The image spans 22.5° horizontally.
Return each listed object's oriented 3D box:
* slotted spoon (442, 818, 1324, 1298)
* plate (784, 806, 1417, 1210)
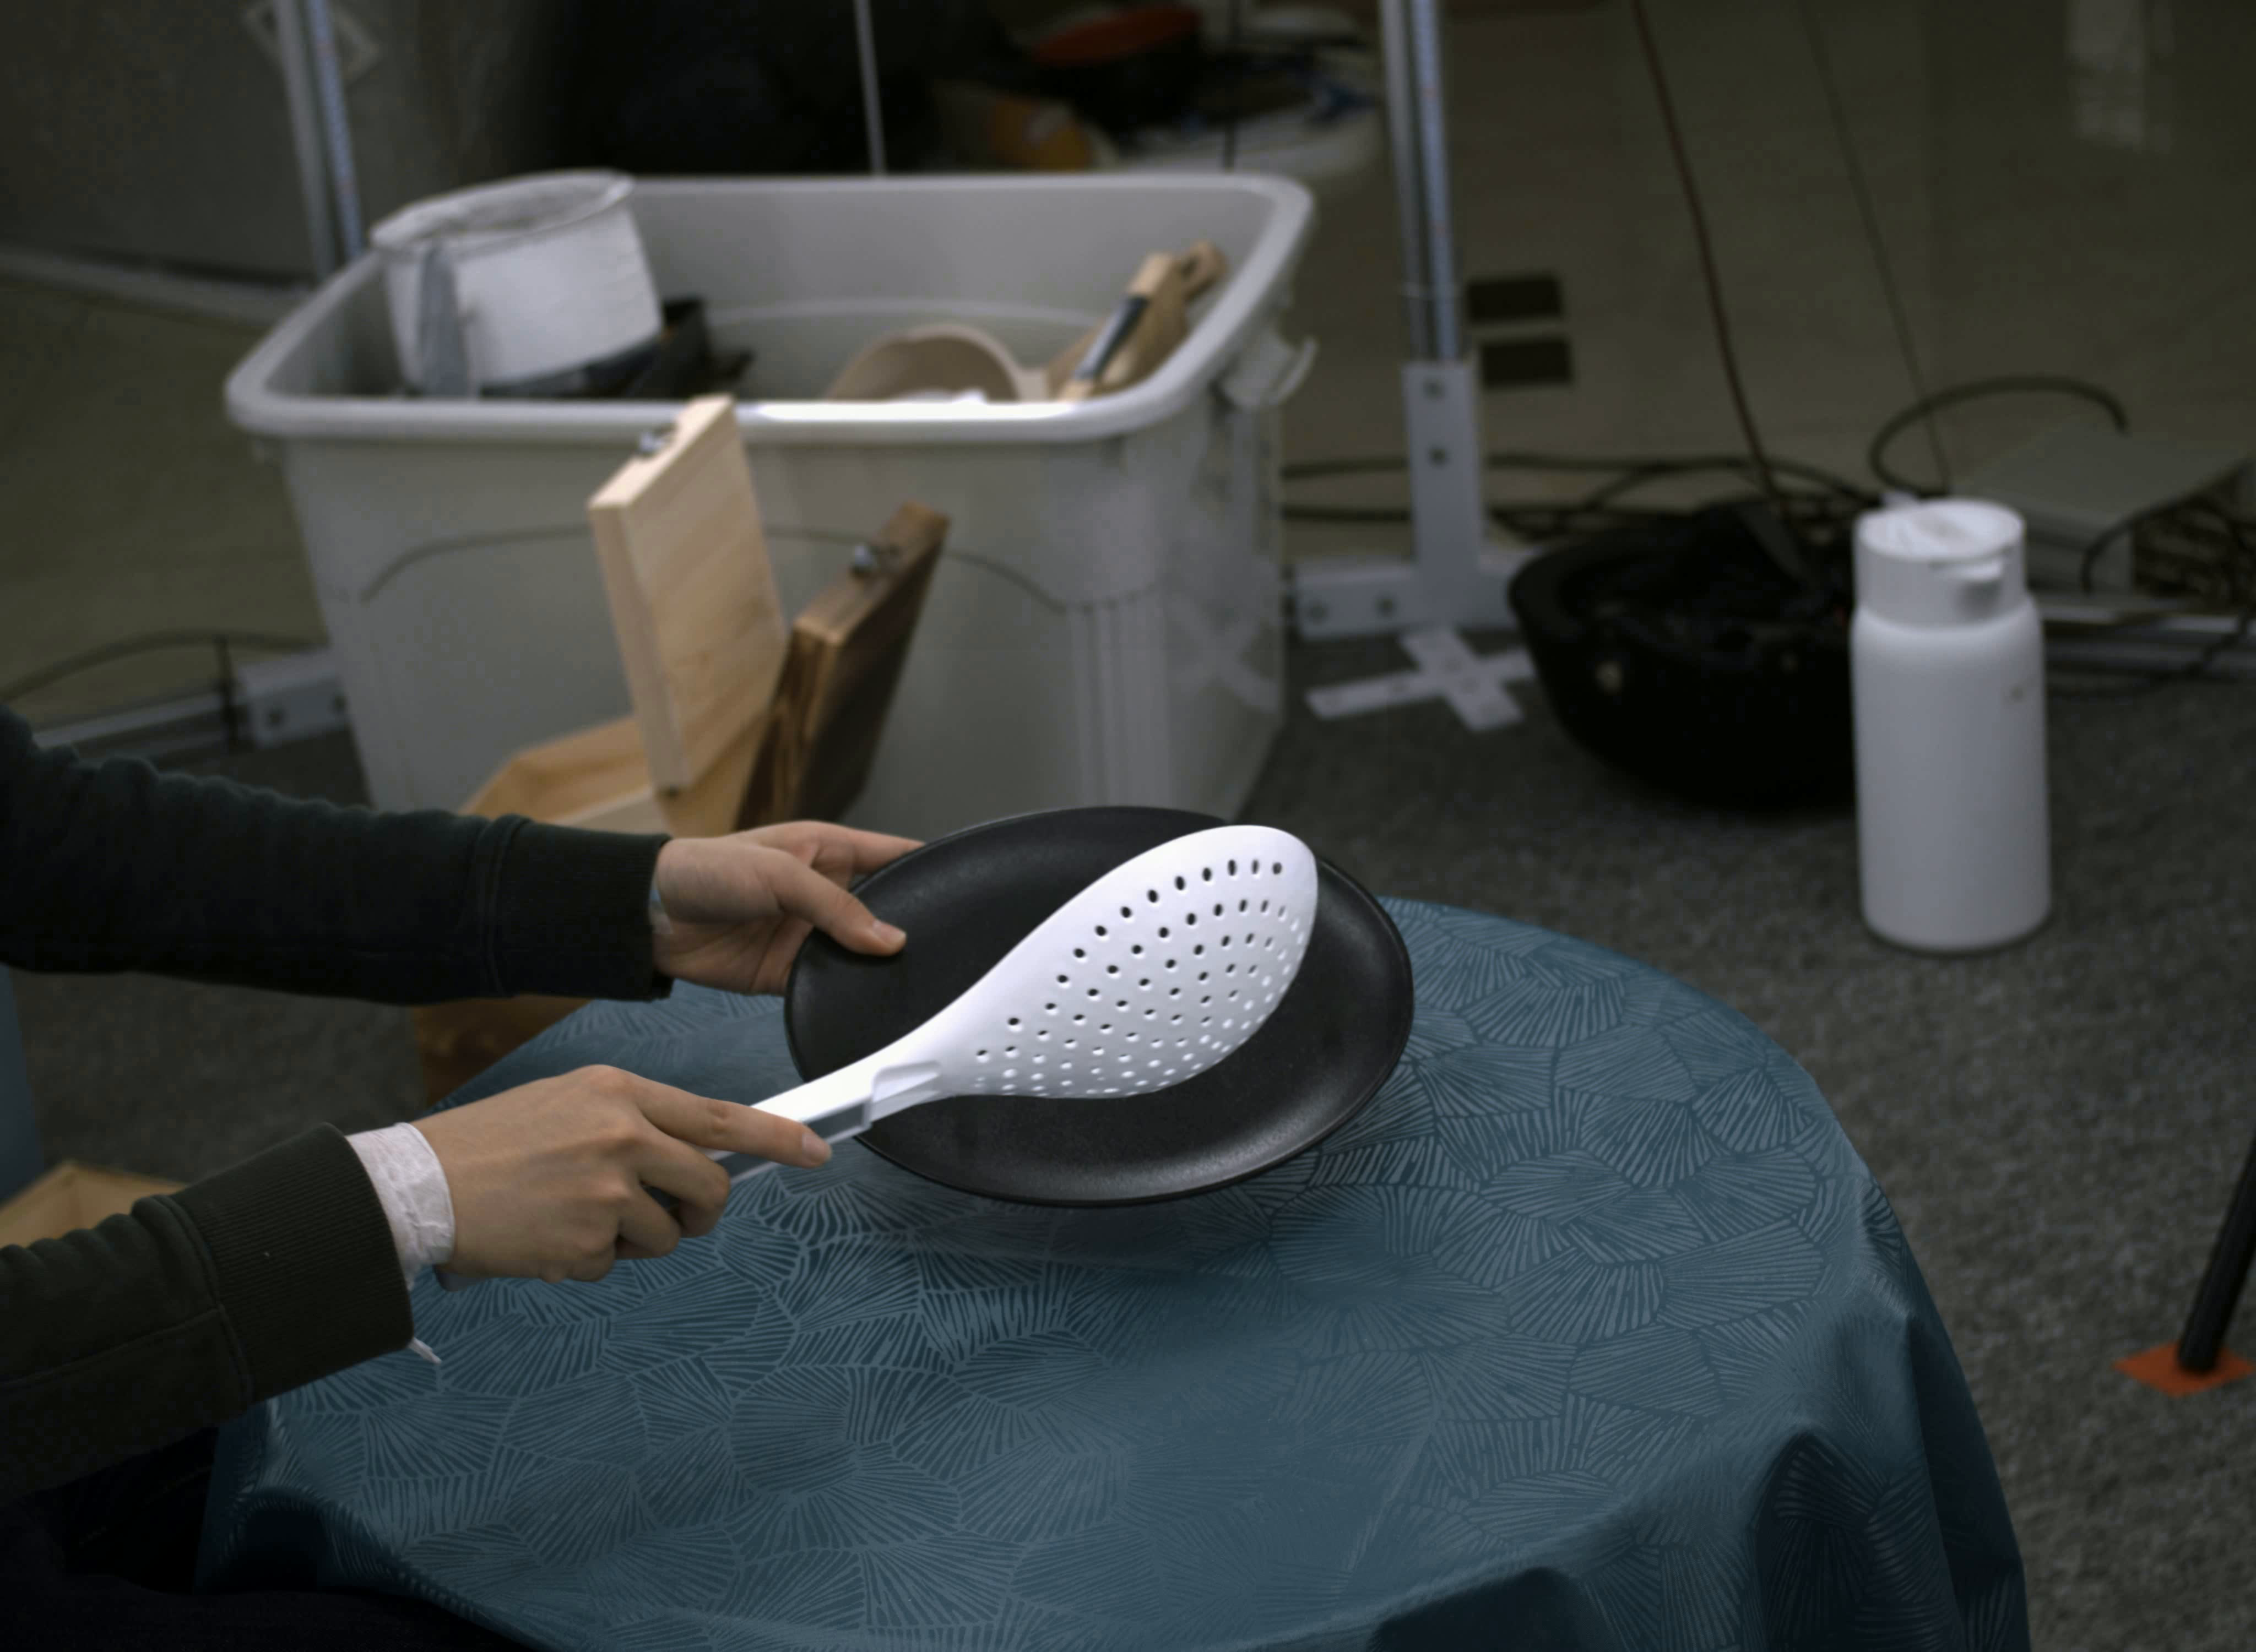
[{"bbox_3d":[-0.080,0.089,1.996,0.348,0.138,0.045,-18,56,-16],"label":"slotted spoon"},{"bbox_3d":[-0.011,0.074,2.181,0.244,0.024,0.240,-1,38,1],"label":"plate"}]
